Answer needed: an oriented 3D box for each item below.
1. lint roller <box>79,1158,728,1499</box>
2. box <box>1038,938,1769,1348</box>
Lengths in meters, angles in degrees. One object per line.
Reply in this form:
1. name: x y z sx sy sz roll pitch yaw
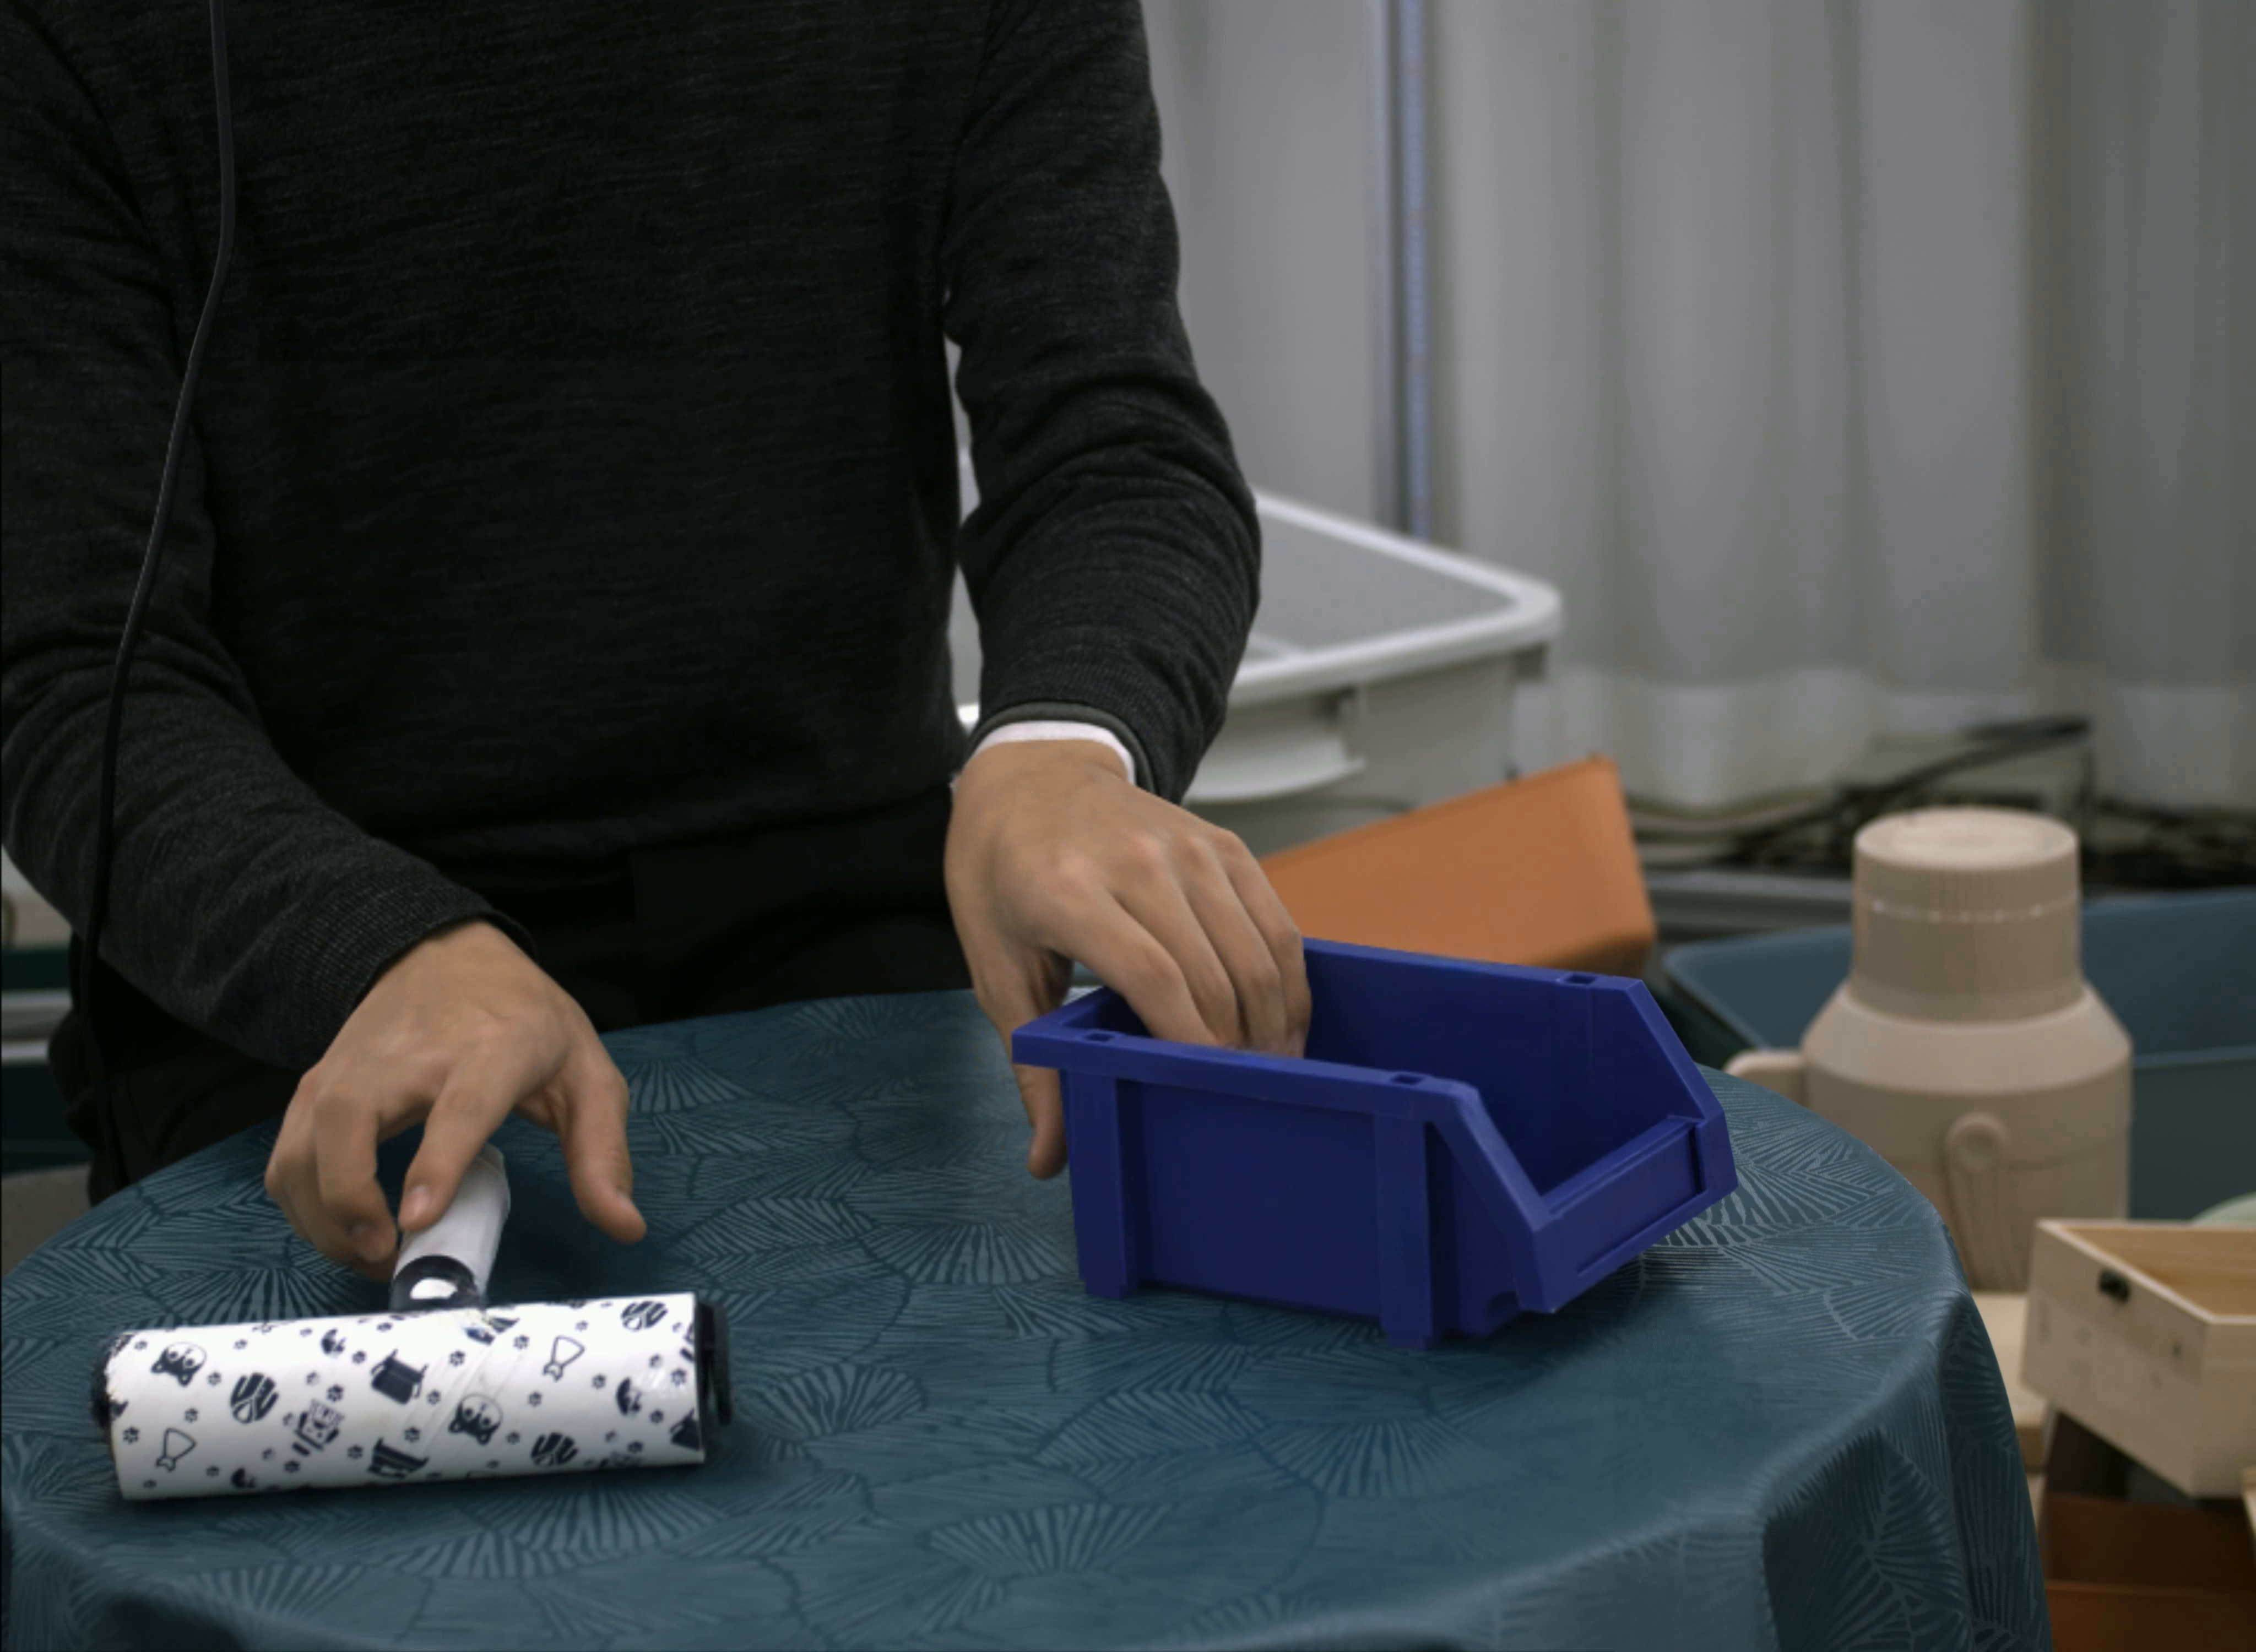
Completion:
1. lint roller: -0.204 0.134 1.601 0.175 0.050 0.248 -4 13 -3
2. box: 0.084 0.093 1.623 0.180 0.081 0.124 4 15 34
